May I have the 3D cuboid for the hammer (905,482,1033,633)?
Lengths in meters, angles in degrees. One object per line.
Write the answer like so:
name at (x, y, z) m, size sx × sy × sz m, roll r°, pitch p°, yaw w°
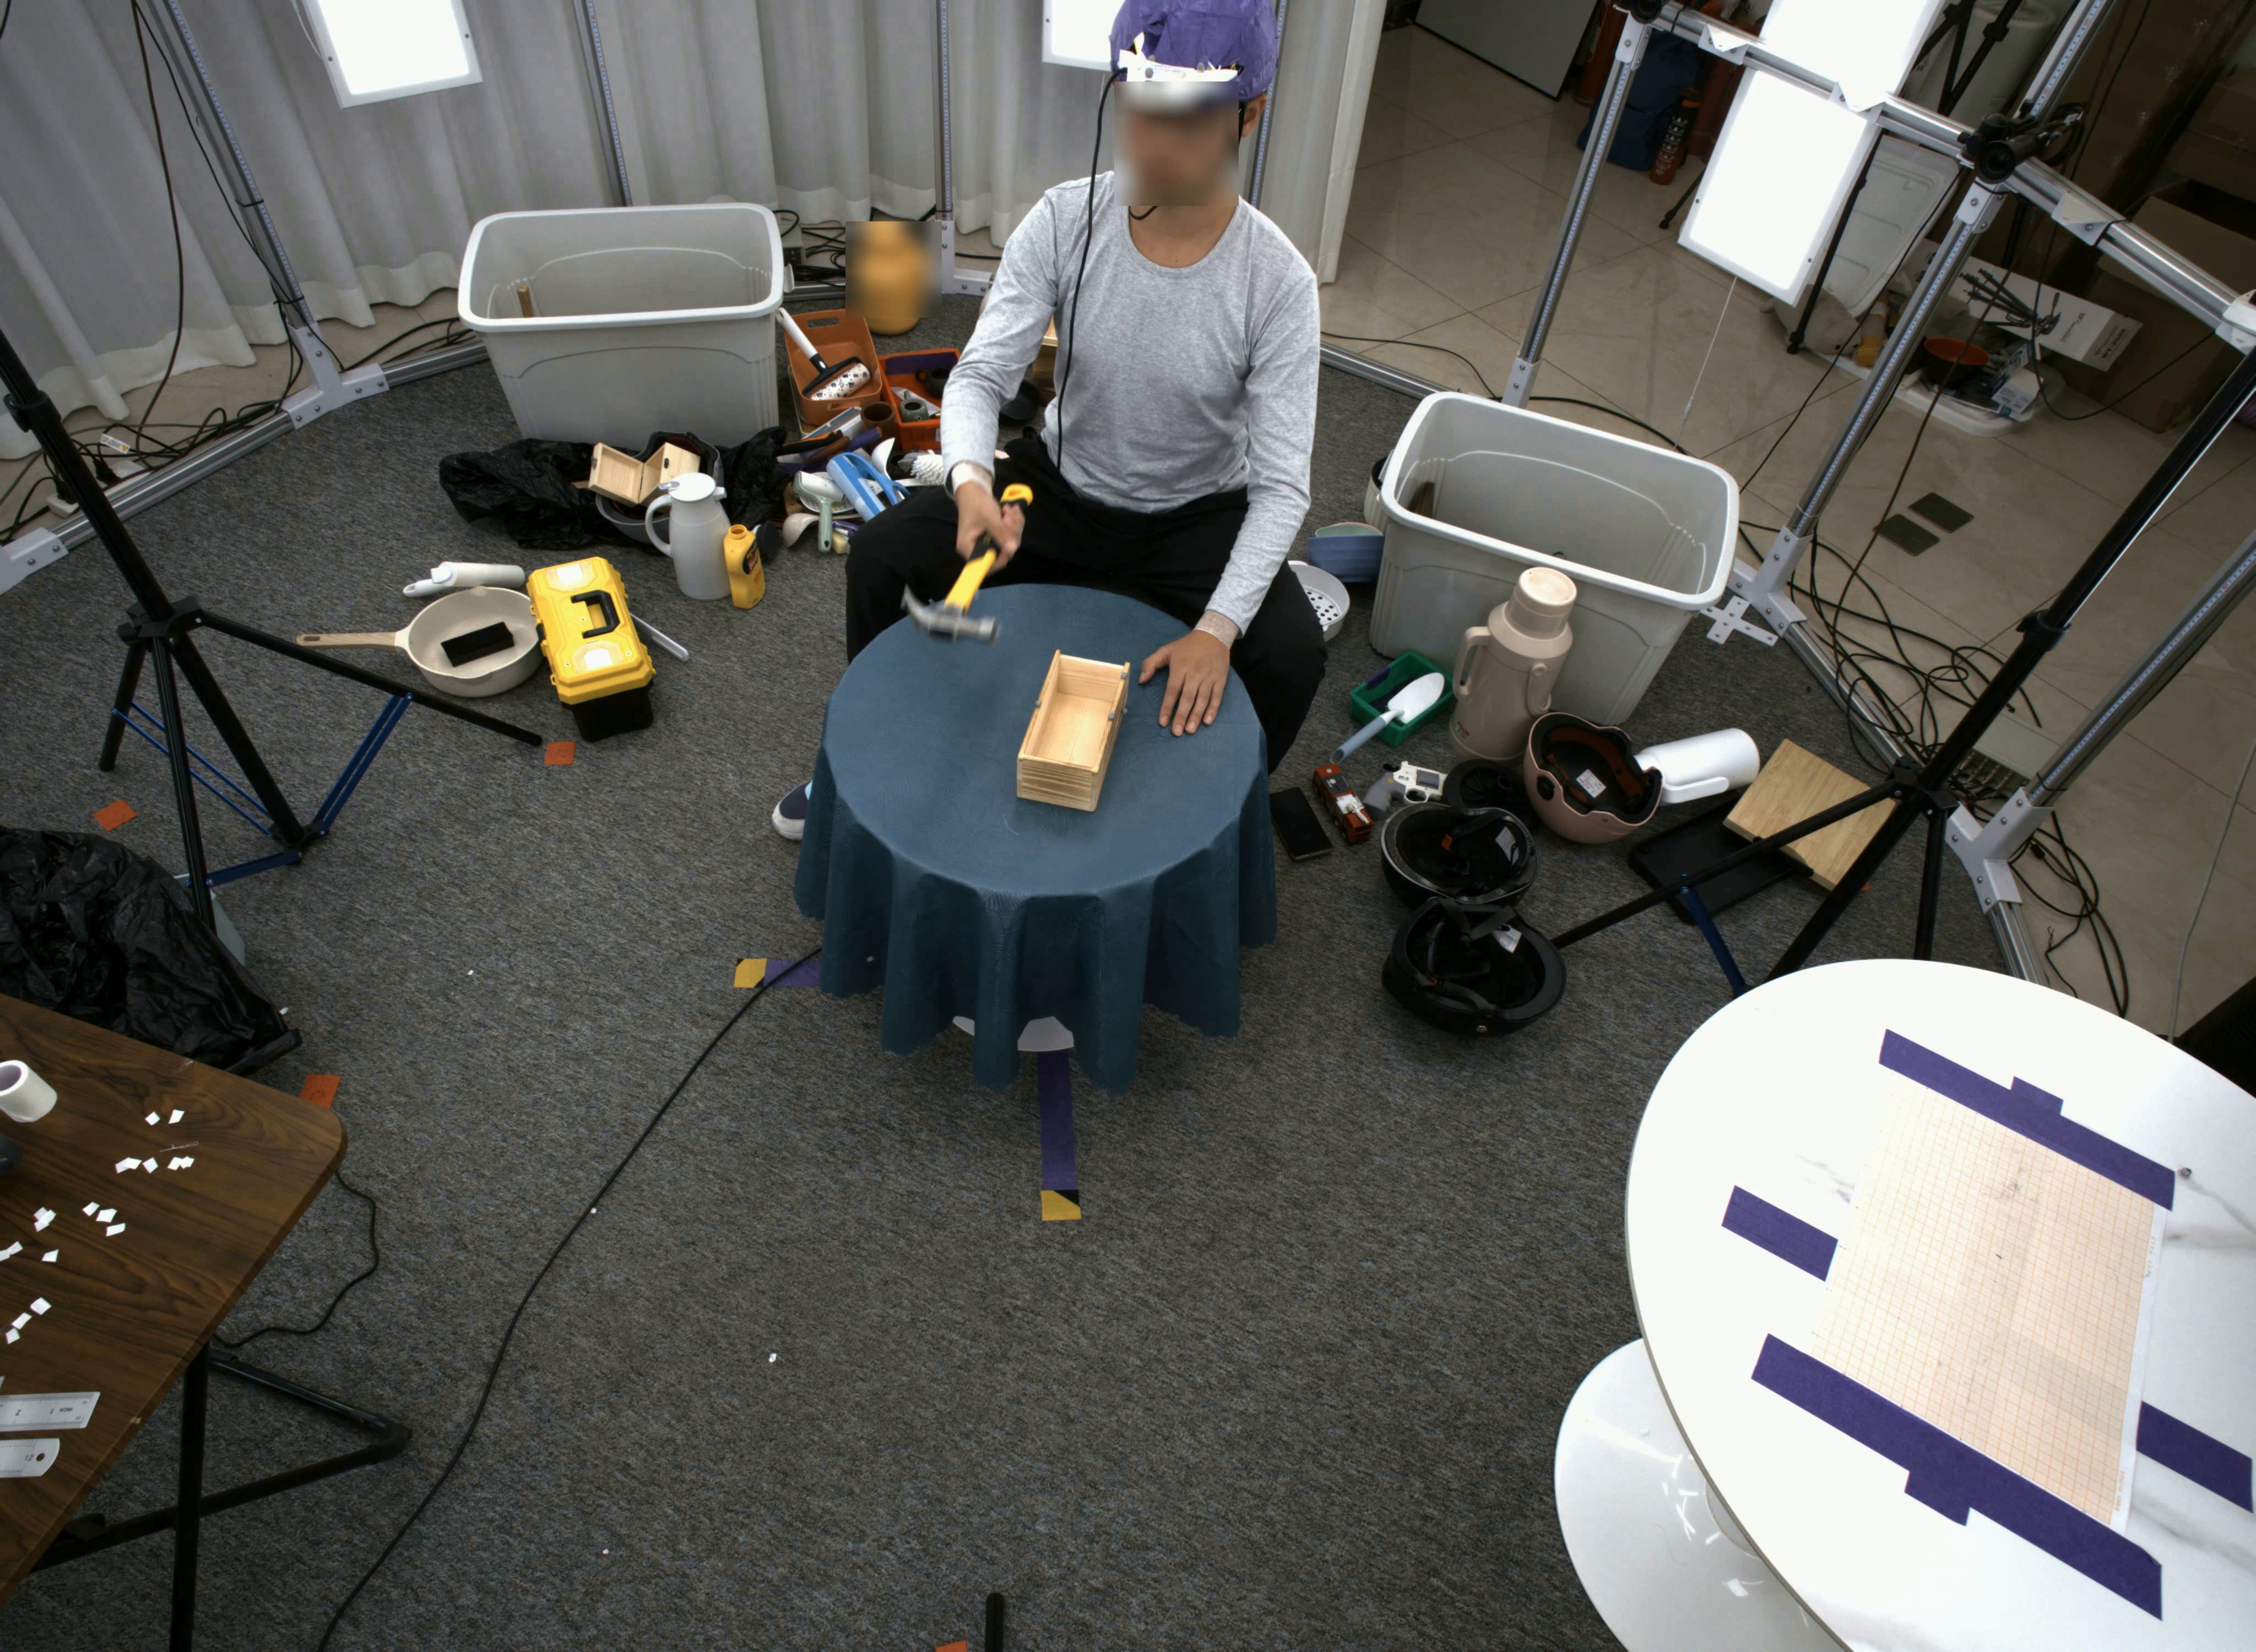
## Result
hammer at (-0.187, -0.360, 1.679) m, size 0.132 × 0.031 × 0.346 m, roll 8°, pitch 42°, yaw 10°

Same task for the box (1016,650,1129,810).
box at (-0.072, -0.133, 1.736) m, size 0.107 × 0.078 × 0.216 m, roll 10°, pitch 50°, yaw 5°
